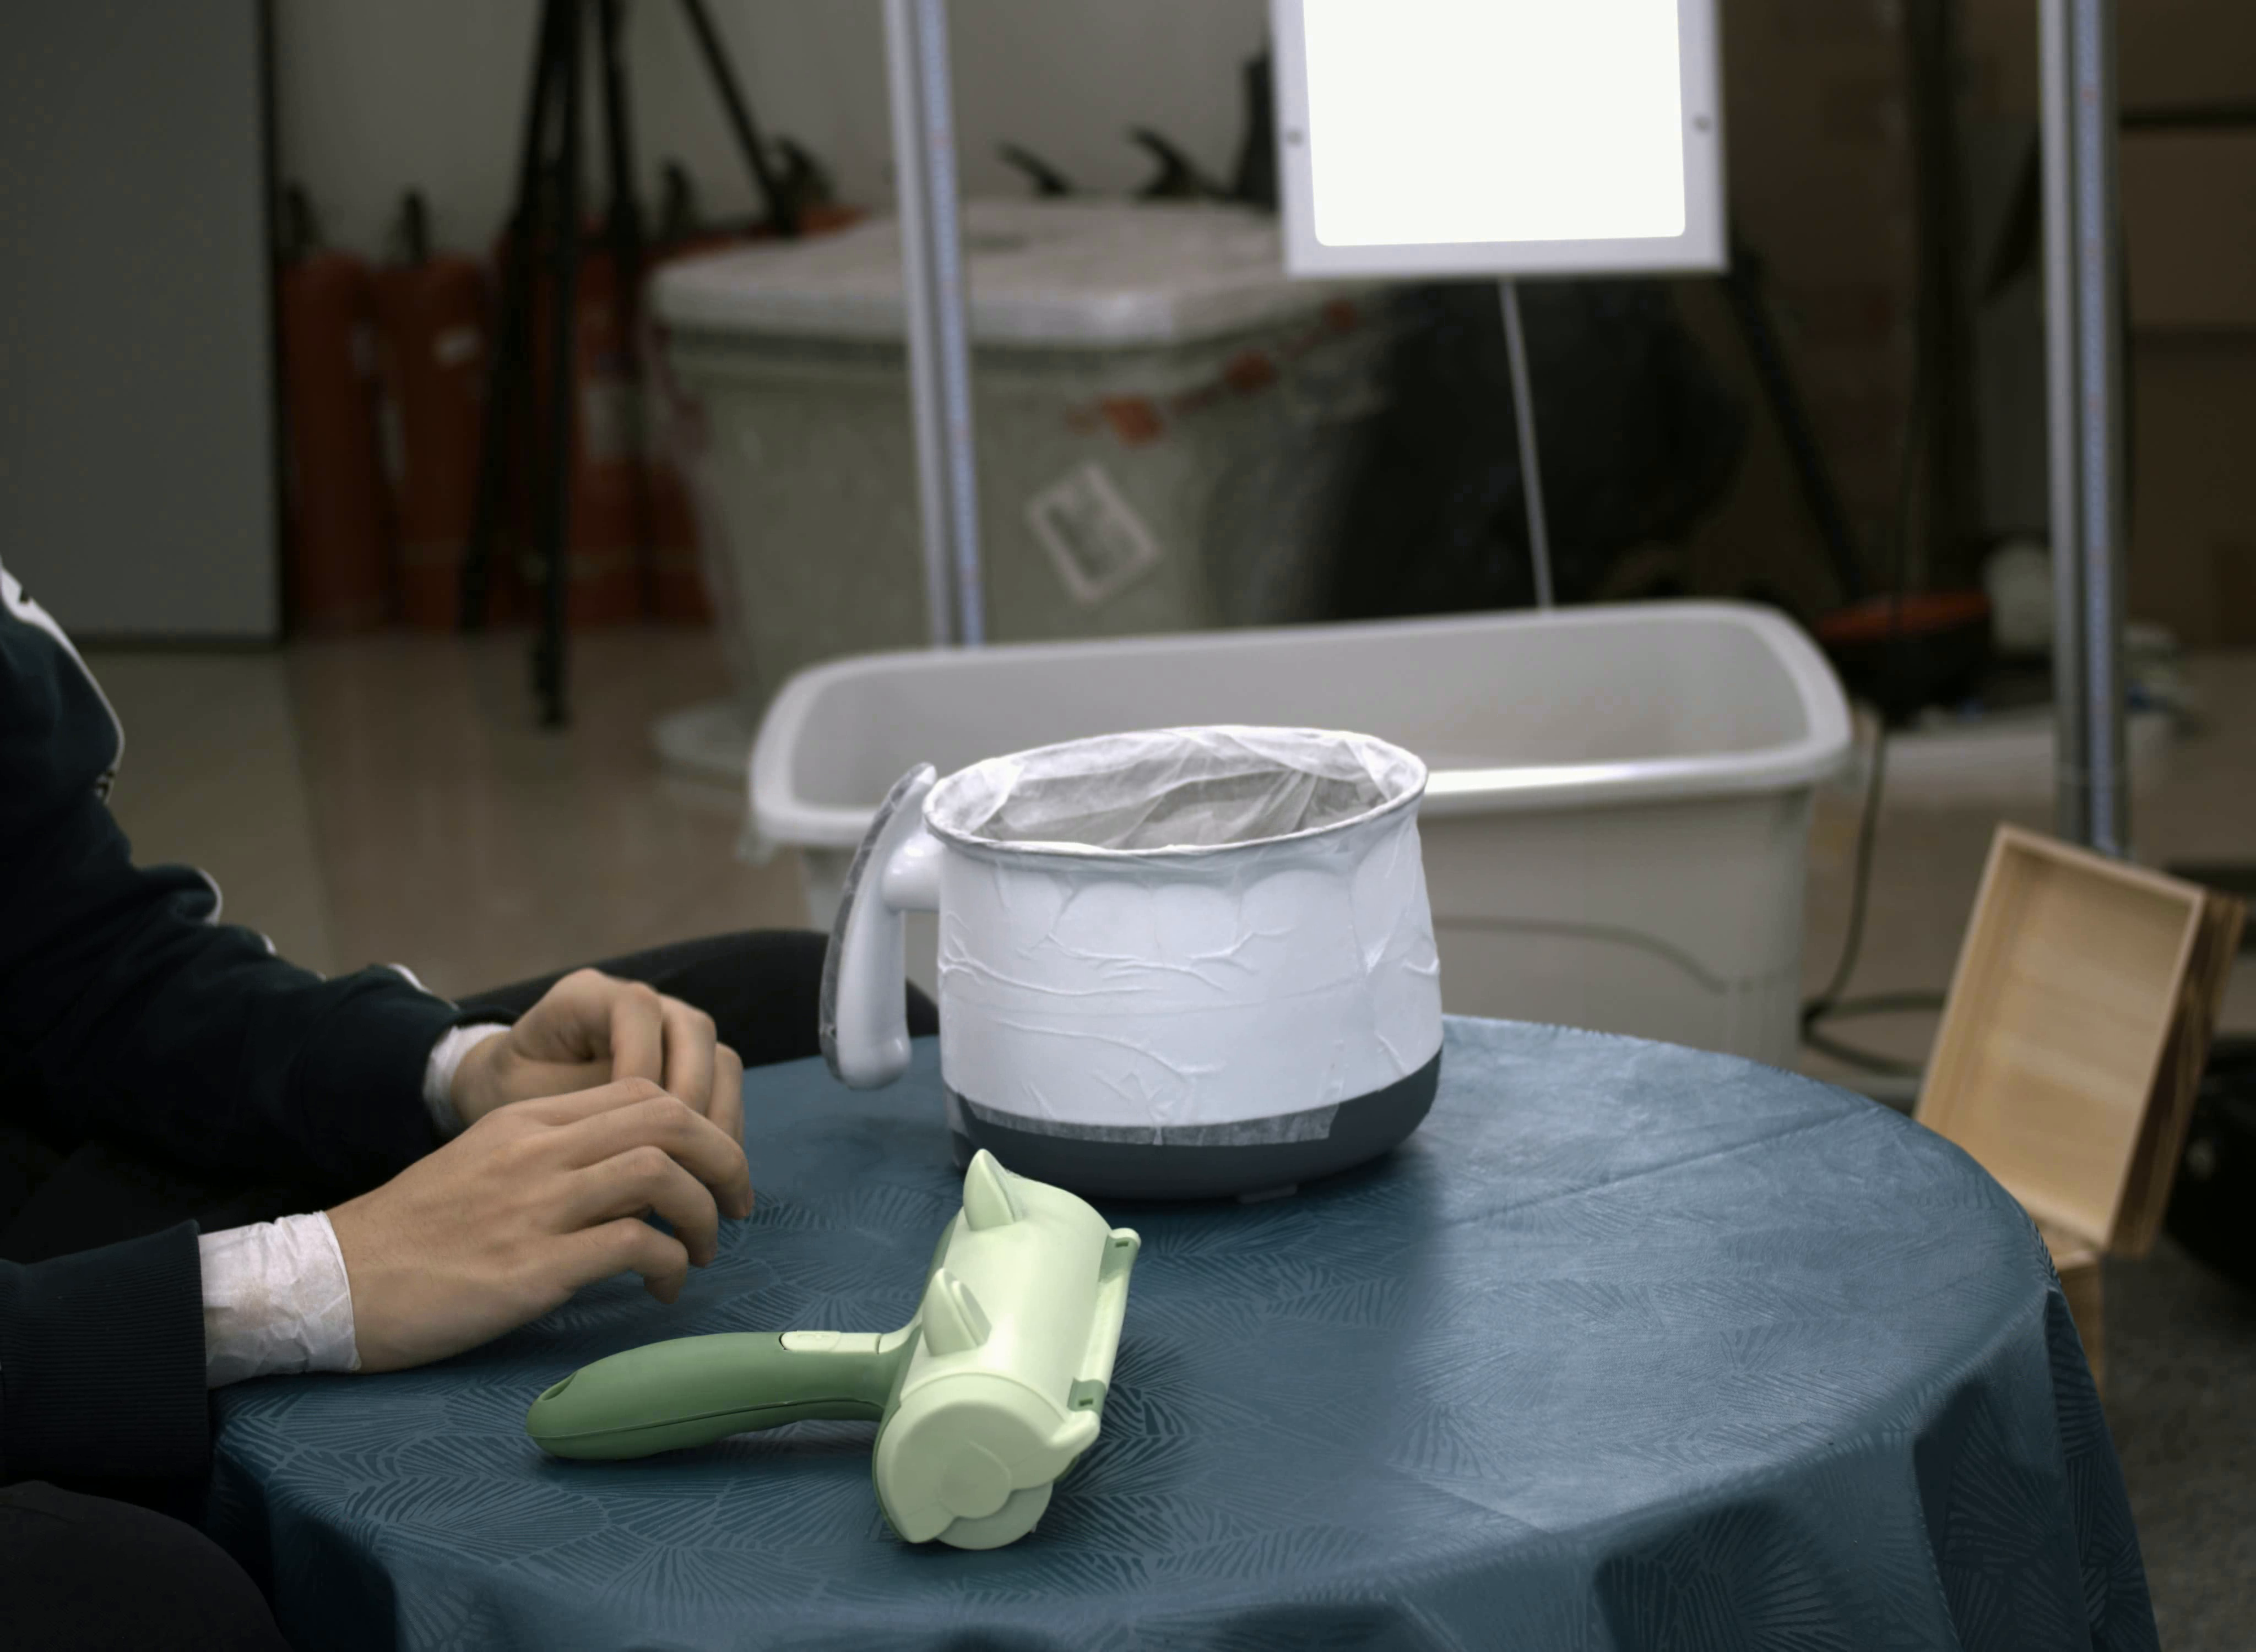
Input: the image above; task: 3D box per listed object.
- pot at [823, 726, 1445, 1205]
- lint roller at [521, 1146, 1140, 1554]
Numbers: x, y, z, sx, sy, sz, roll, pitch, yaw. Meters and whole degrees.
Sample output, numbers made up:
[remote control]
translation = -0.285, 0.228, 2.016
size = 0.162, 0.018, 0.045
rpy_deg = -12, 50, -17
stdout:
[pot]
translation = -0.003, 0.046, 1.932
size = 0.237, 0.137, 0.175
rpy_deg = 3, 15, 26
[lint roller]
translation = -0.094, 0.152, 1.667
size = 0.184, 0.082, 0.197
rpy_deg = 1, 15, 6
